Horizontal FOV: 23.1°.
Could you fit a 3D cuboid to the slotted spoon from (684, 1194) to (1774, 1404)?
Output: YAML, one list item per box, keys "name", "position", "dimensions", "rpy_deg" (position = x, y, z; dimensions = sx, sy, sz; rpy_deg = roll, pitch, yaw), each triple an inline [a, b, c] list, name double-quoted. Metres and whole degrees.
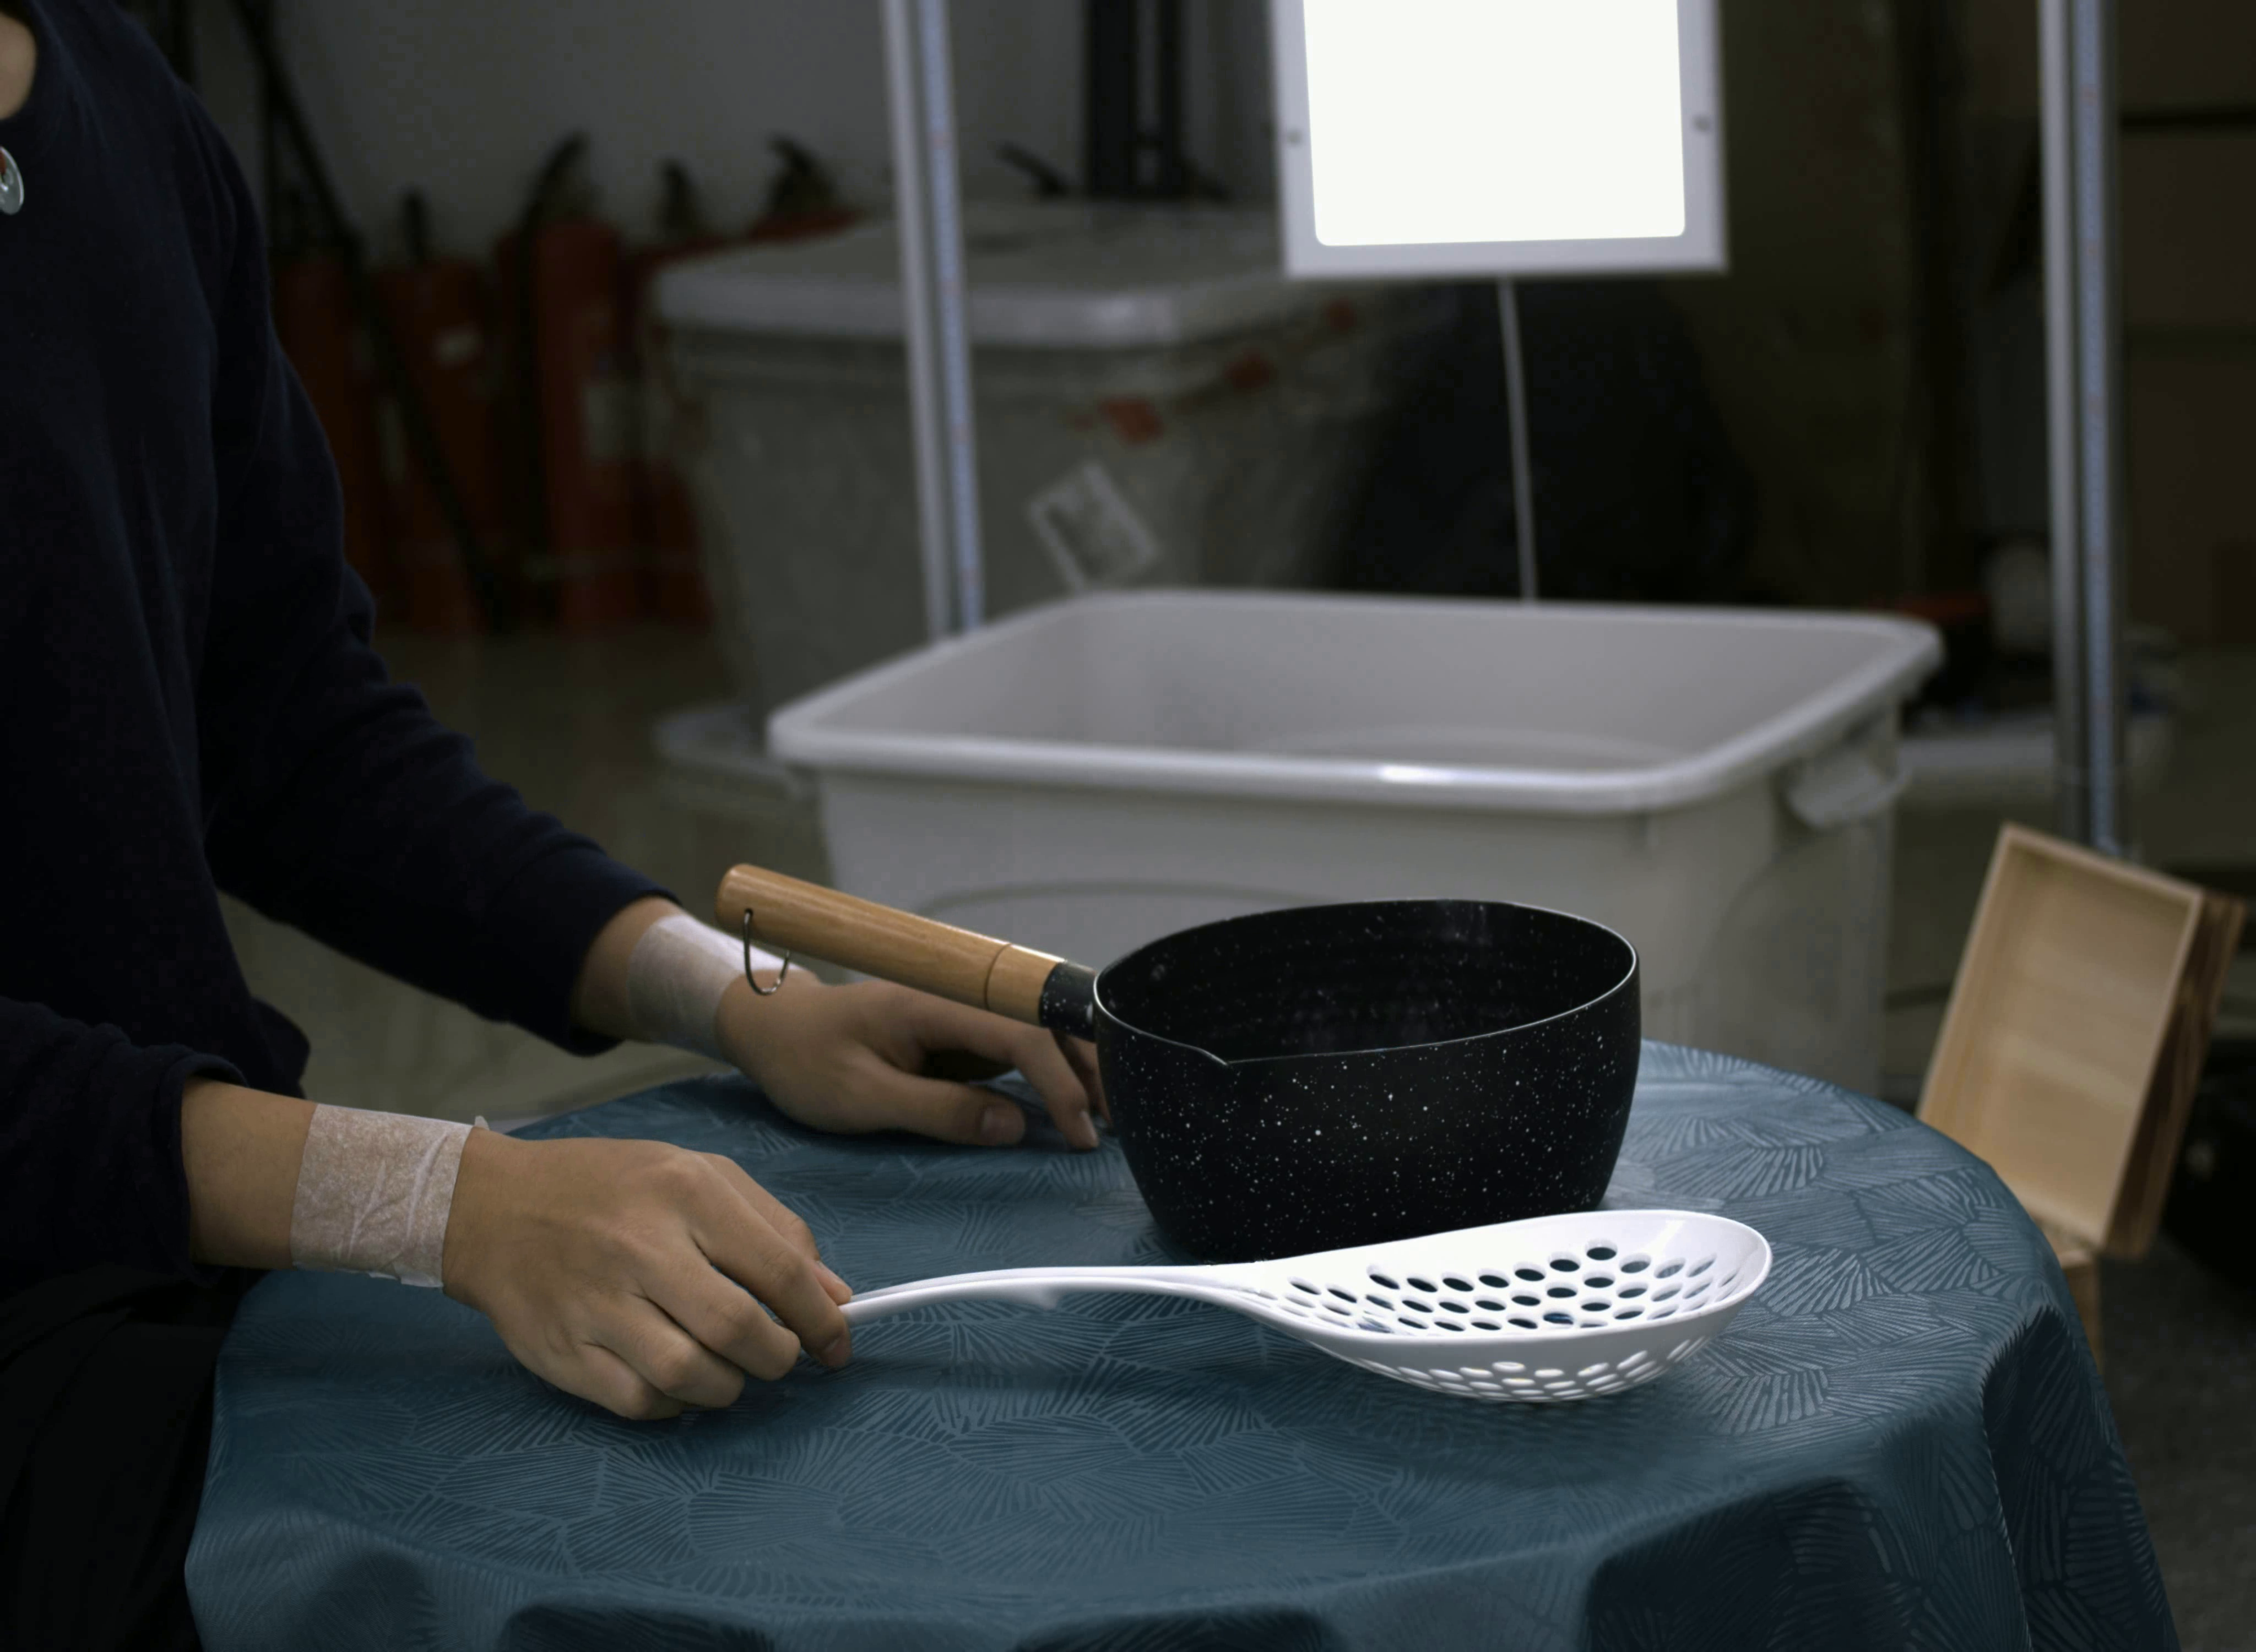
- name: "slotted spoon"
  position: [0.027, 0.150, 1.701]
  dimensions: [0.352, 0.050, 0.134]
  rpy_deg: [1, 13, 19]

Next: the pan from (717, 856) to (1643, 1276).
- name: "pan"
  position: [0.010, 0.074, 1.879]
  dimensions: [0.349, 0.108, 0.203]
  rpy_deg: [4, 17, 27]
